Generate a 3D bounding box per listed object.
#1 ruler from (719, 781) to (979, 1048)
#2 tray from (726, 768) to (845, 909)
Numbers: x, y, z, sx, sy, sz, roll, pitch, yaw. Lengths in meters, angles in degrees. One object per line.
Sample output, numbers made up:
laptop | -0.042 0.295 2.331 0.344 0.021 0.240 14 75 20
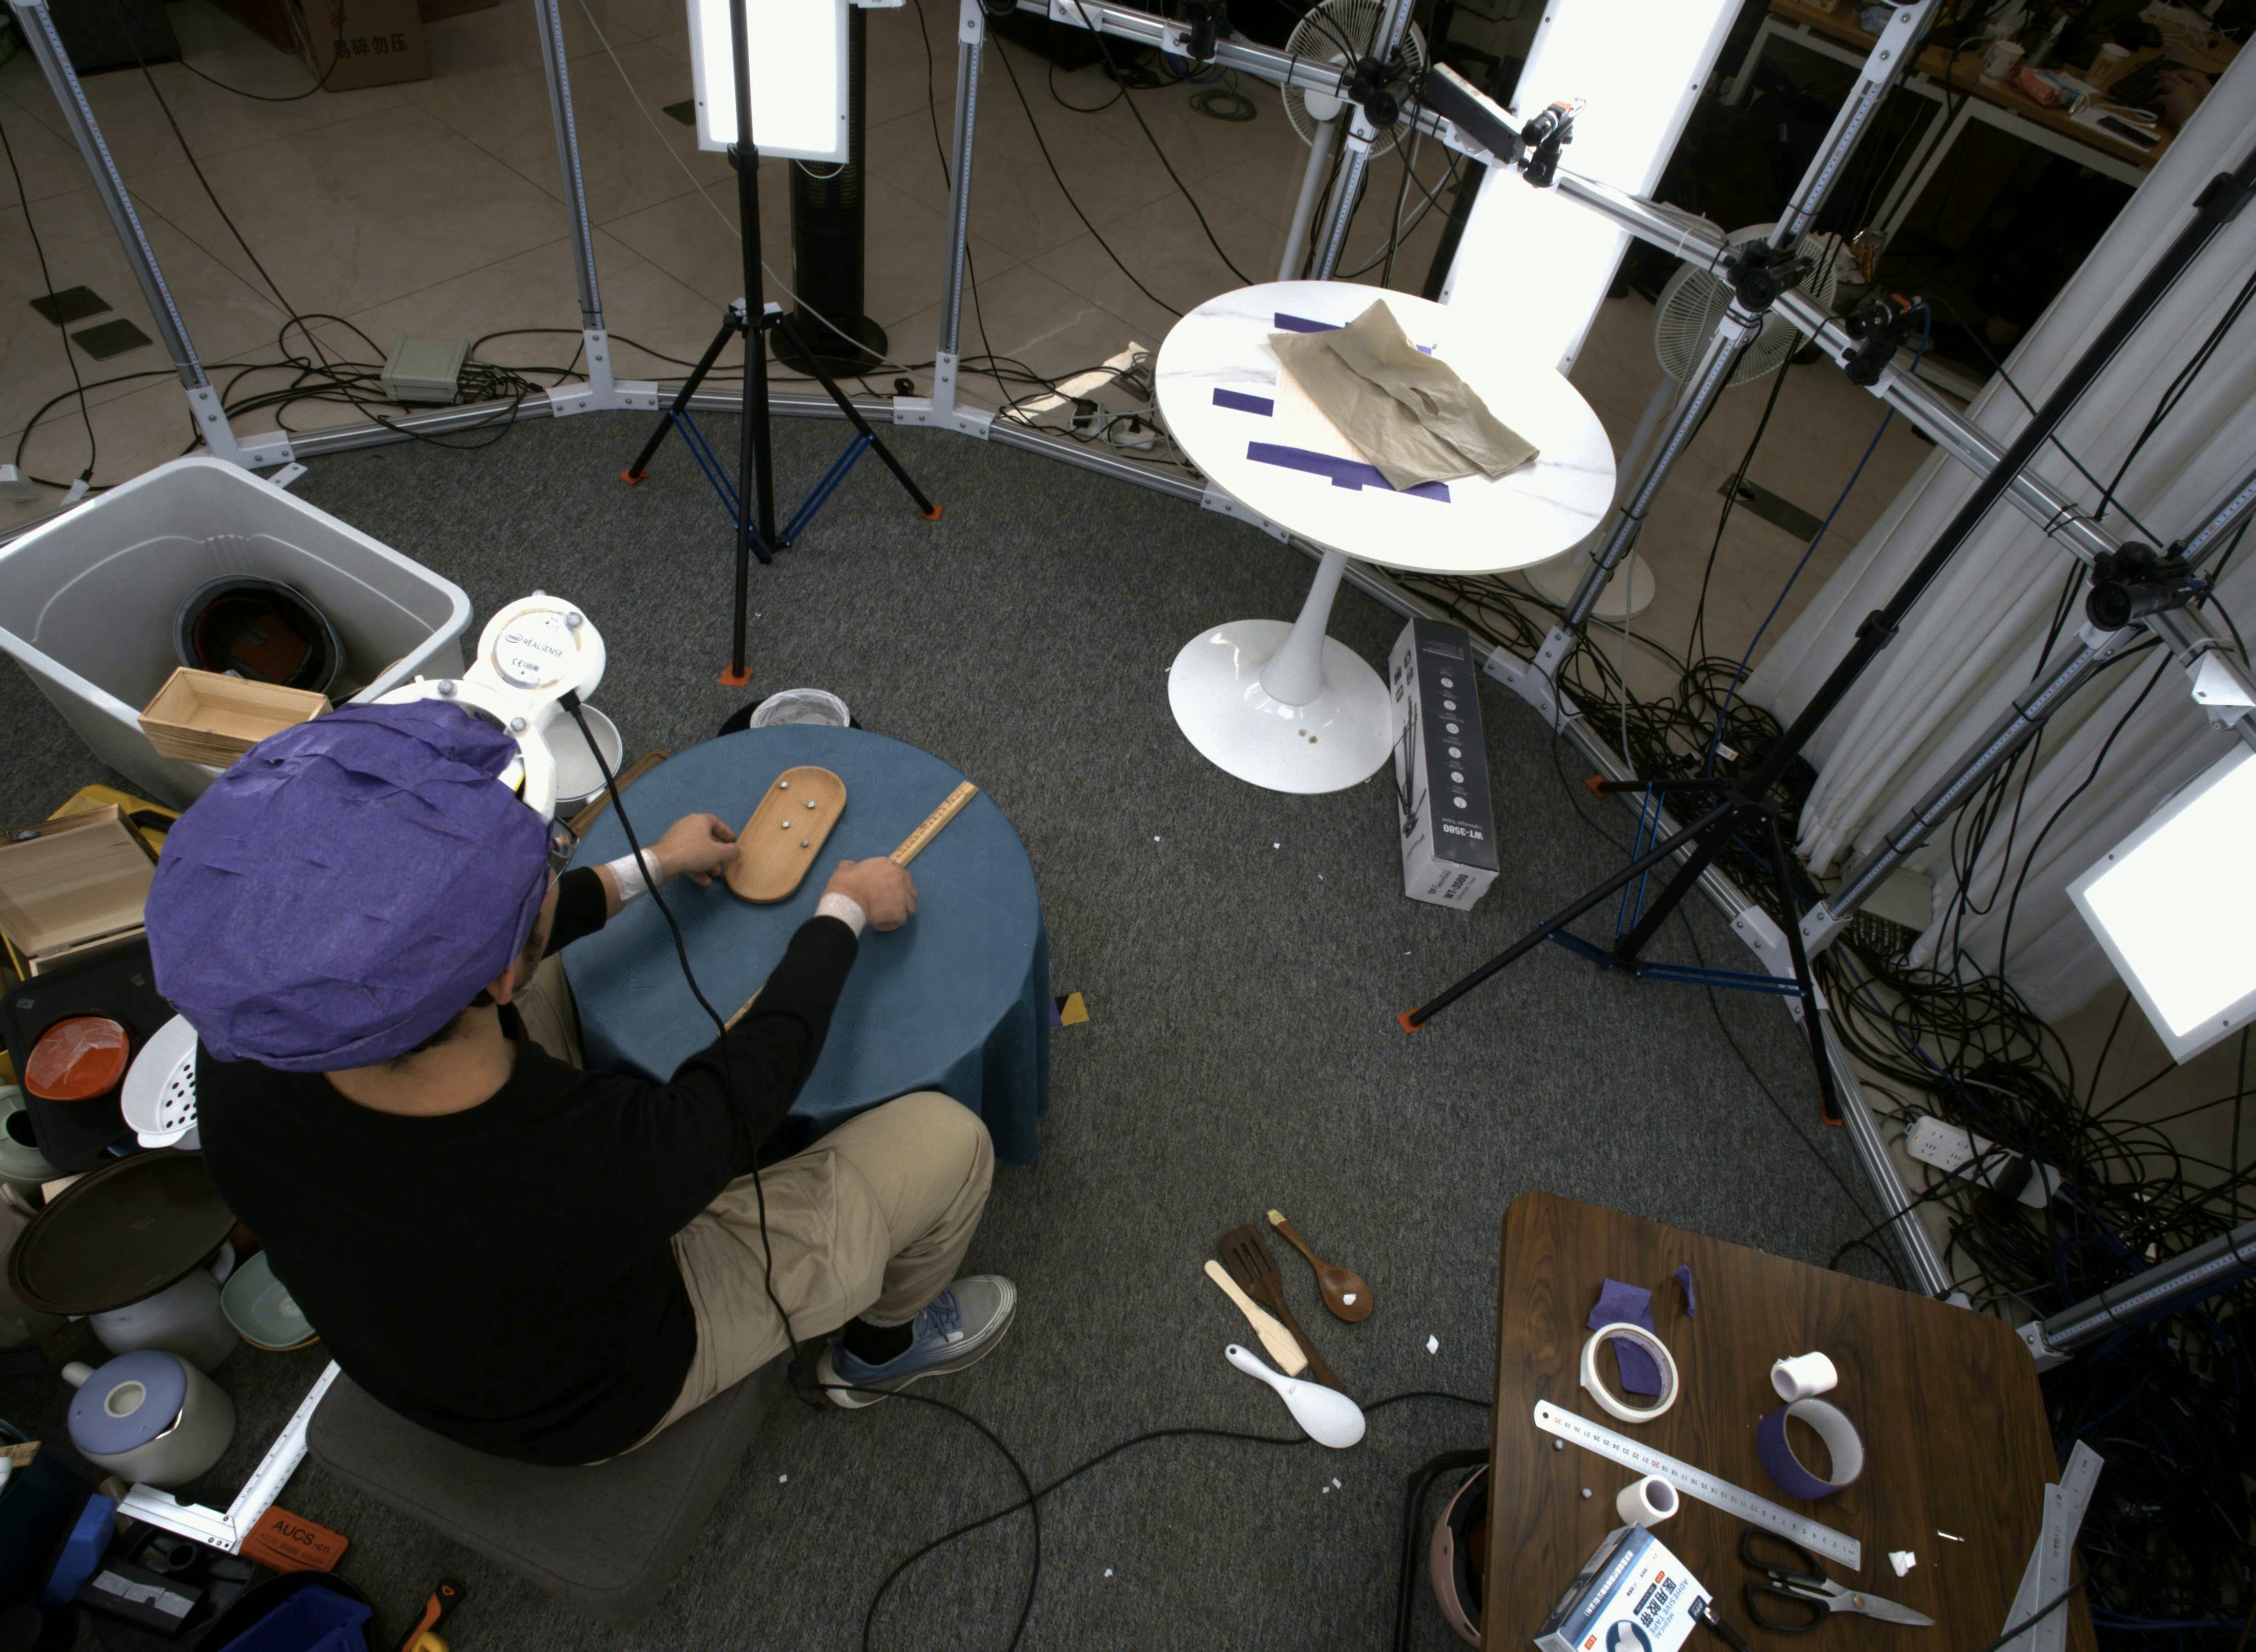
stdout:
ruler | -0.346 0.096 1.665 0.026 0.006 0.499 31 53 11
tray | -0.446 0.012 1.693 0.100 0.021 0.228 17 53 1
